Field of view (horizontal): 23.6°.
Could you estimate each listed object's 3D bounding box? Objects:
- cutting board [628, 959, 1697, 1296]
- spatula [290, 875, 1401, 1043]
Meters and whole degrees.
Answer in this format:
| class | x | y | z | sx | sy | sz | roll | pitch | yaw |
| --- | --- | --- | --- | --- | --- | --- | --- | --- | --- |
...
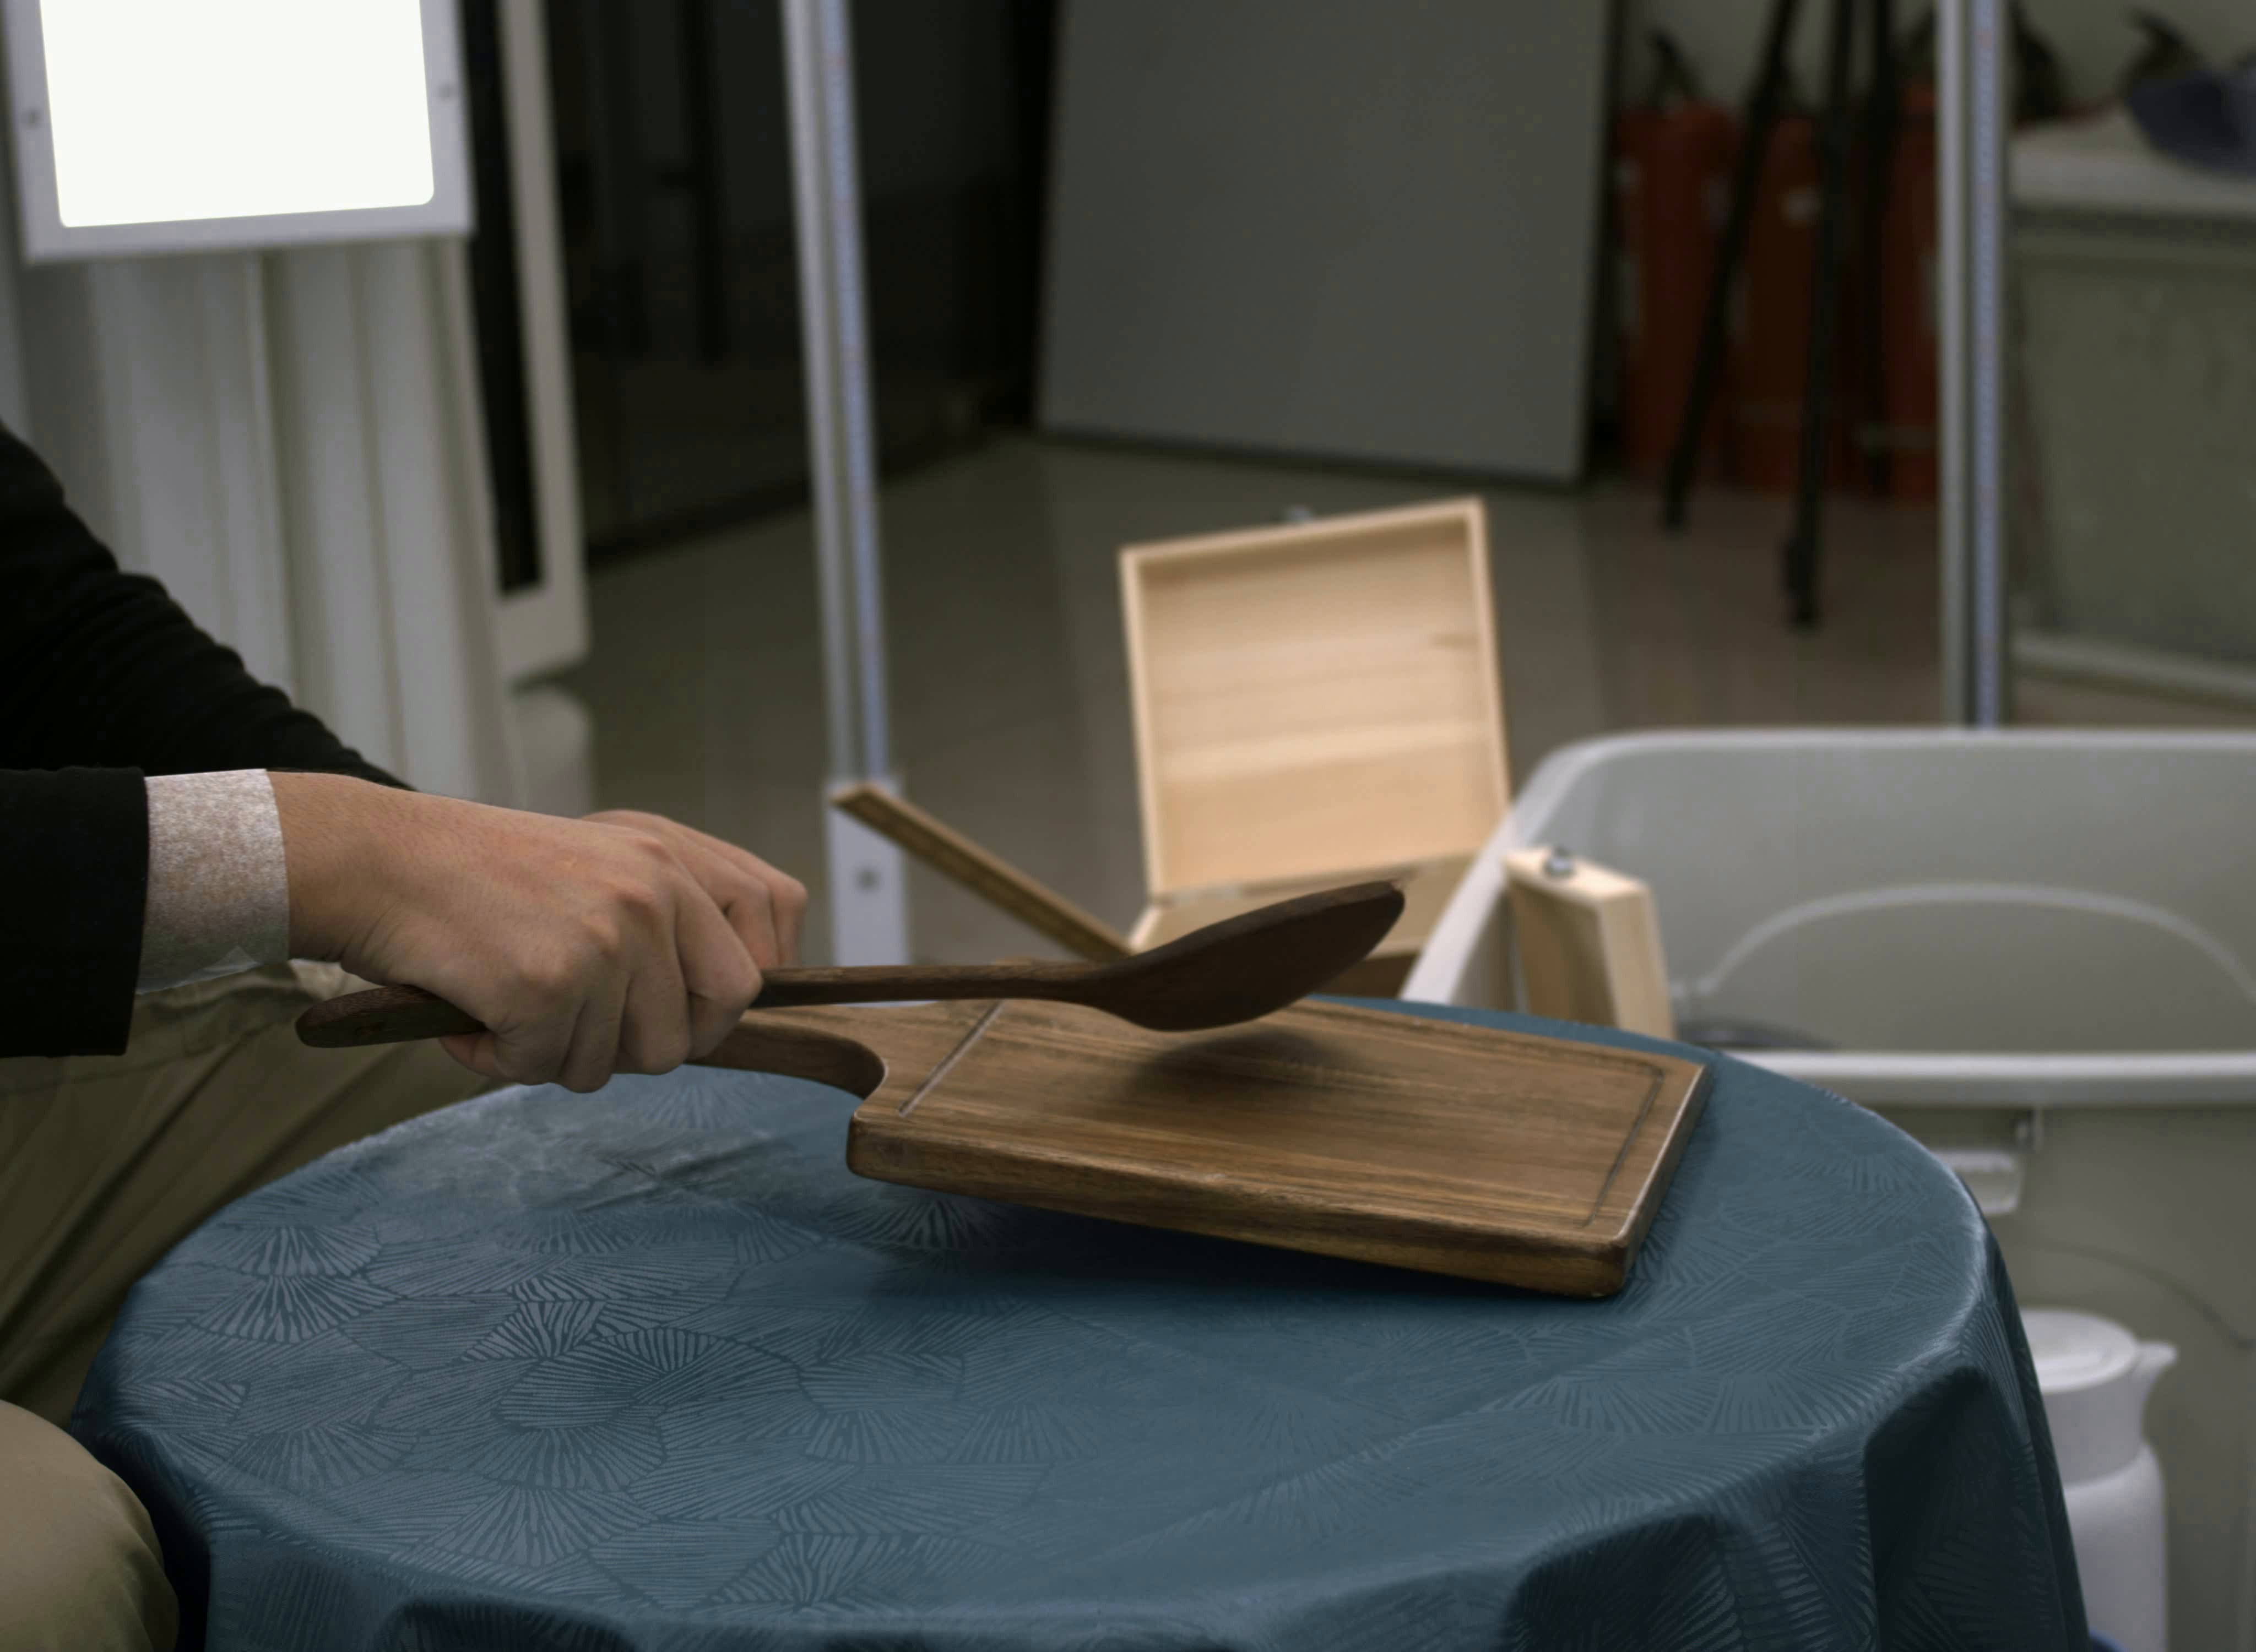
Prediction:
| class | x | y | z | sx | sy | sz | roll | pitch | yaw |
| --- | --- | --- | --- | --- | --- | --- | --- | --- | --- |
| cutting board | 0.005 | 0.087 | 1.758 | 0.350 | 0.023 | 0.200 | 8 | 16 | 13 |
| spatula | -0.083 | 0.049 | 1.694 | 0.377 | 0.016 | 0.097 | -2 | -27 | -29 |
